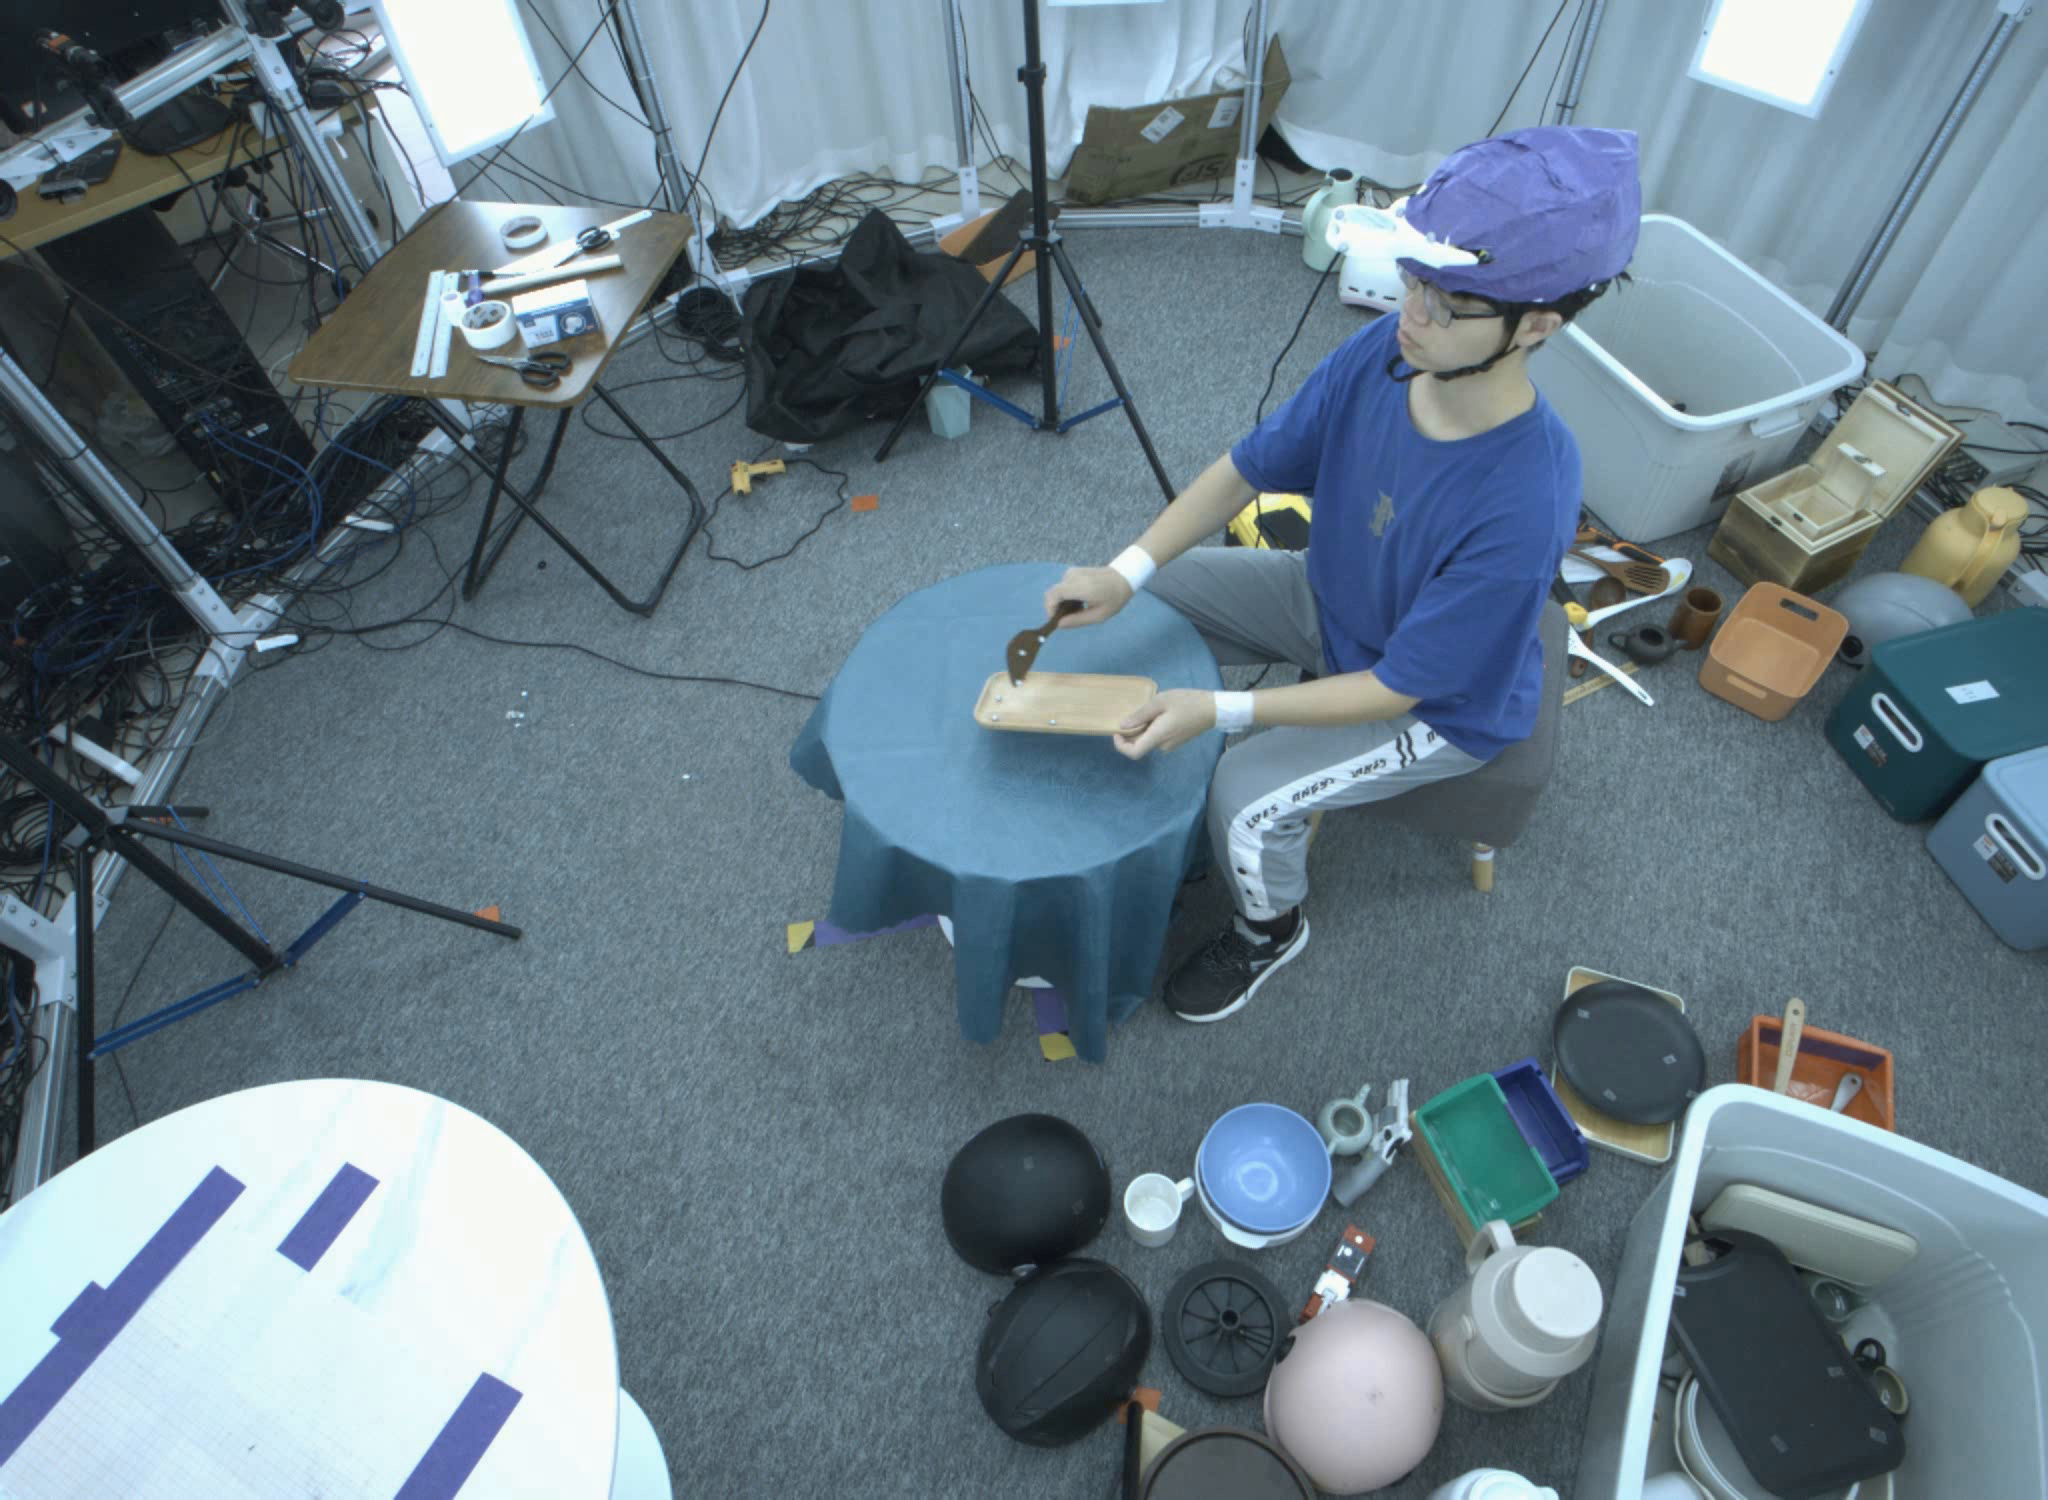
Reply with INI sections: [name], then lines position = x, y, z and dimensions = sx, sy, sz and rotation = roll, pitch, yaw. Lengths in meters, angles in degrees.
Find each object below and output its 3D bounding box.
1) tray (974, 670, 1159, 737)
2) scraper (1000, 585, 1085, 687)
[tray]
position = 0.060, -0.066, 1.724
dimensions = 0.248, 0.023, 0.130
rotation = 5, 43, 14
[scraper]
position = 0.027, -0.173, 1.745
dimensions = 0.010, 0.077, 0.213
rotation = 19, 47, 30
